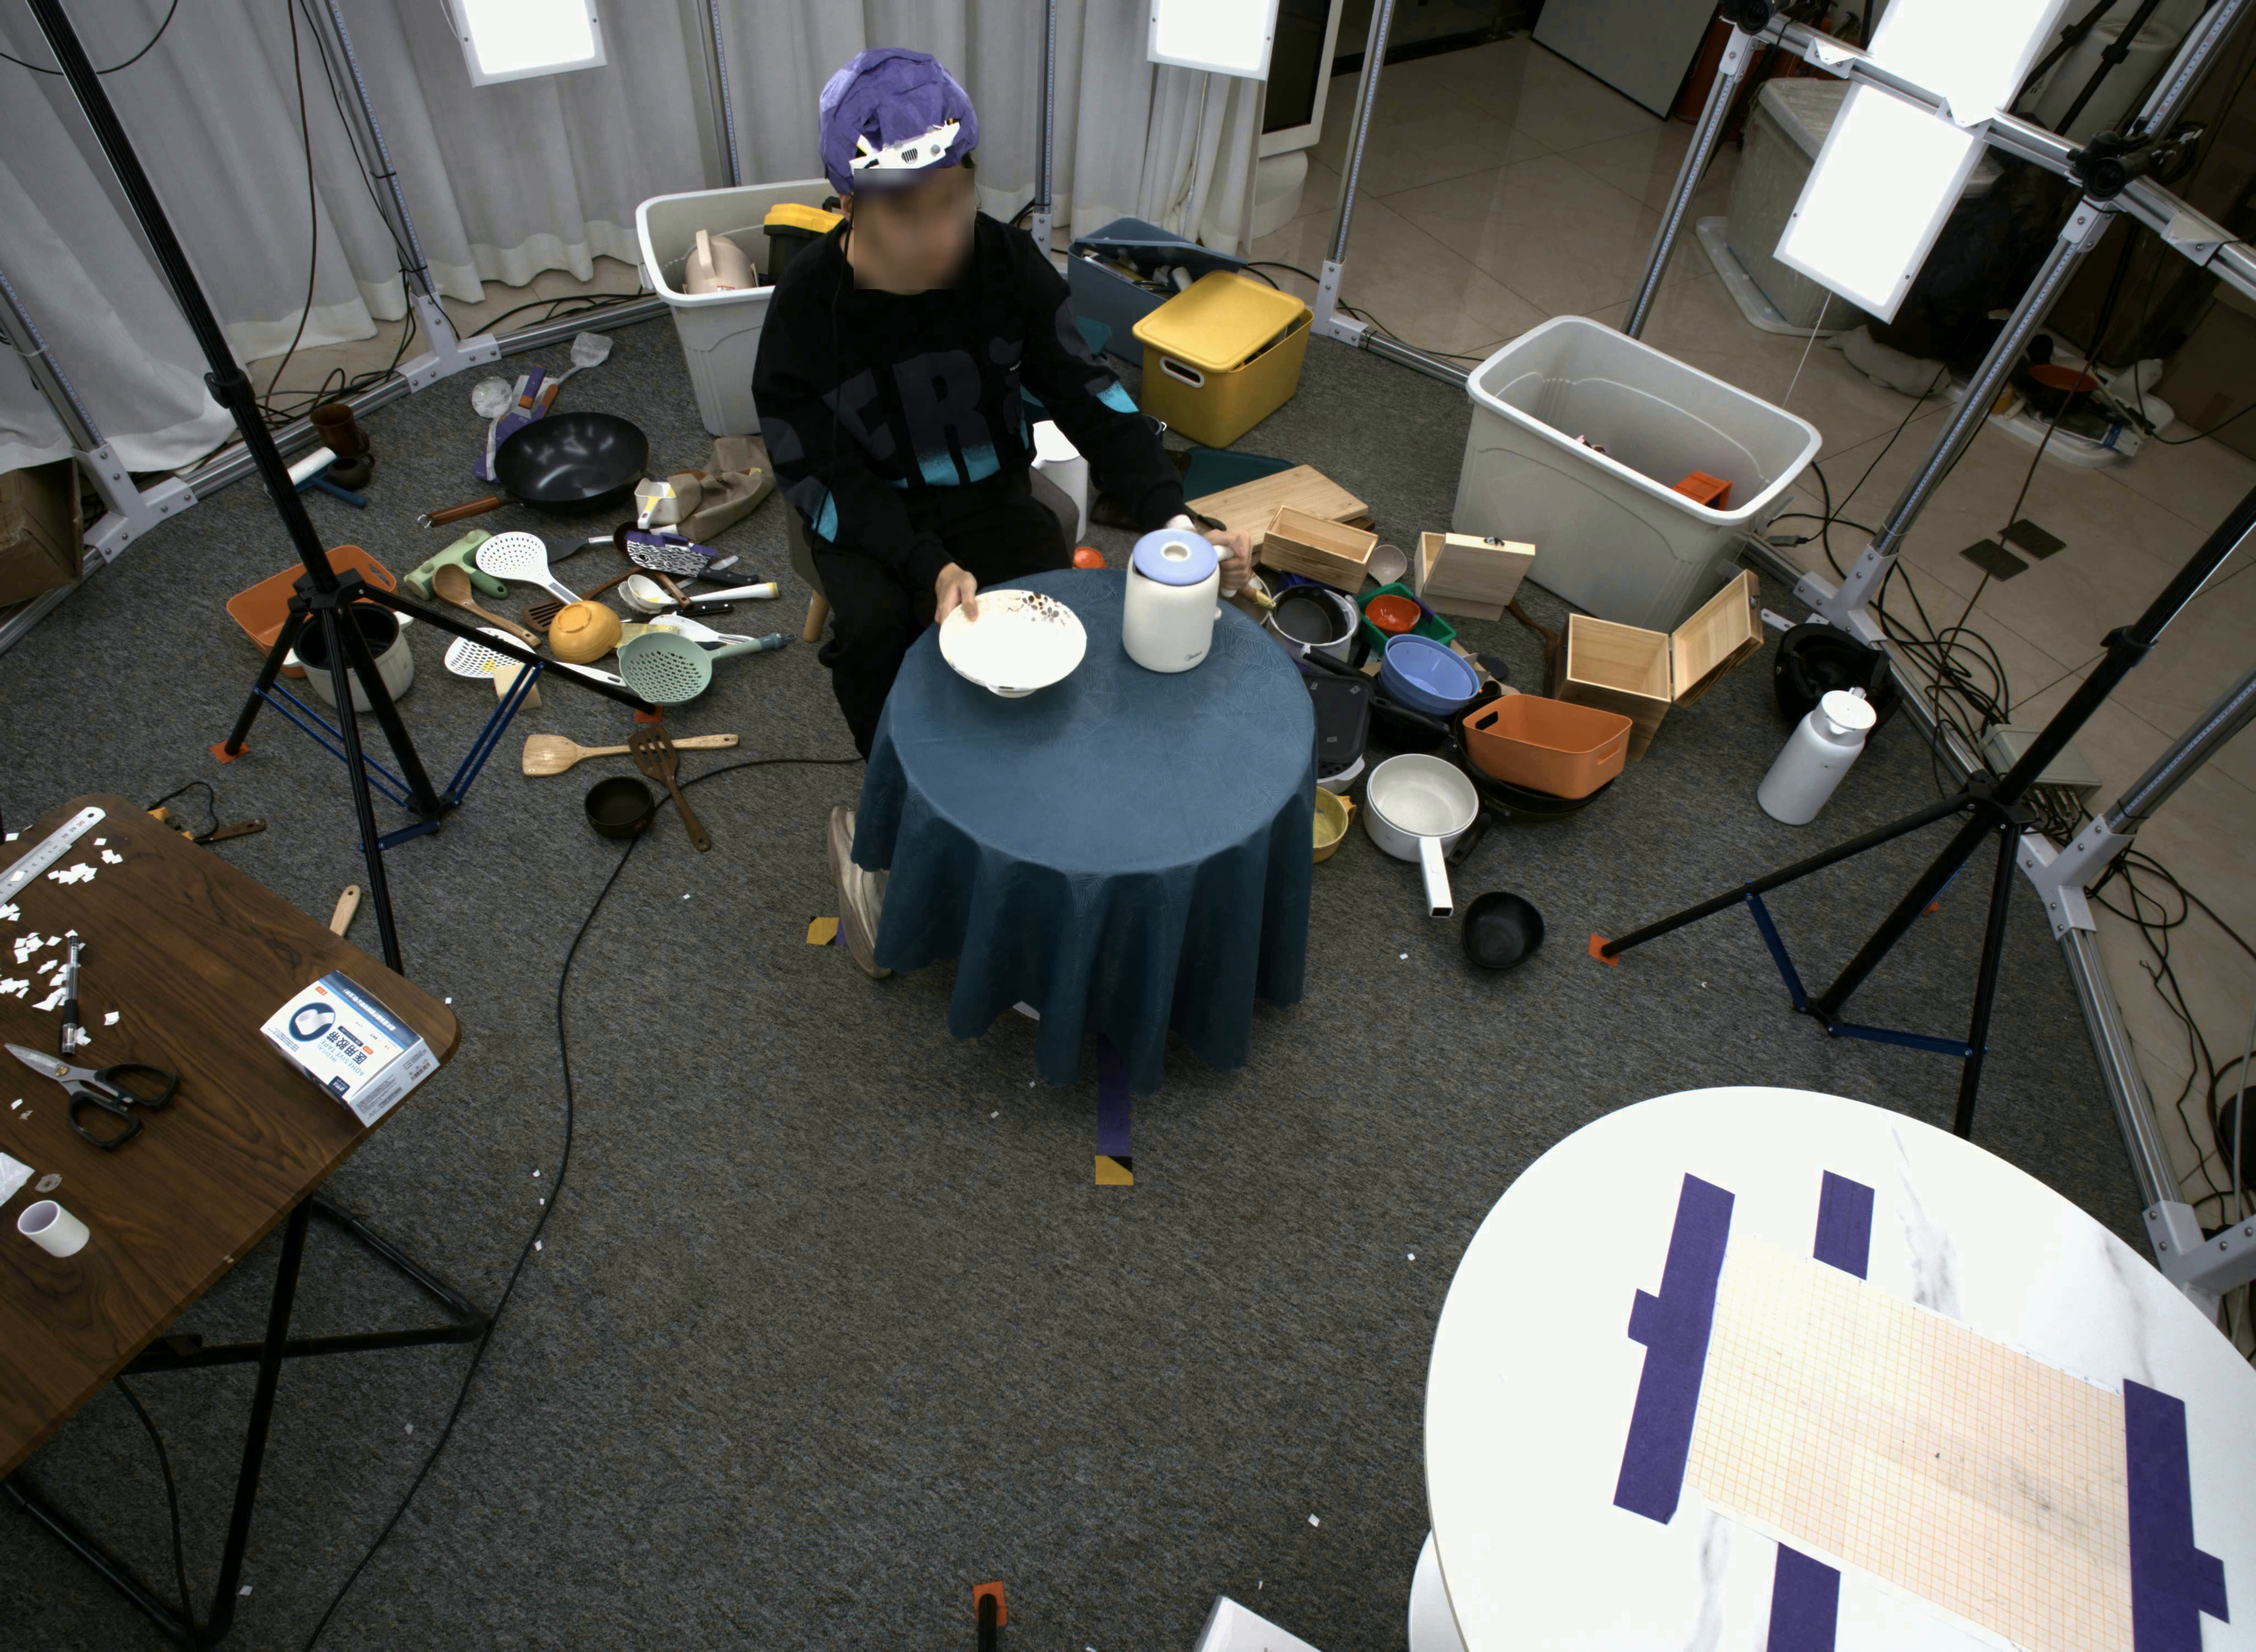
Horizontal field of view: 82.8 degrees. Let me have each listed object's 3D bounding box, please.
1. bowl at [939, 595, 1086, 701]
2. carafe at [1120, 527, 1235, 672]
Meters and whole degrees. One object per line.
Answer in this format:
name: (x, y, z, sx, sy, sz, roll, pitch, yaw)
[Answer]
bowl: (-0.163, -0.234, 1.813, 0.204, 0.076, 0.209, 2, 45, -3)
carafe: (0.079, -0.334, 1.853, 0.192, 0.178, 0.134, -26, 57, -27)
